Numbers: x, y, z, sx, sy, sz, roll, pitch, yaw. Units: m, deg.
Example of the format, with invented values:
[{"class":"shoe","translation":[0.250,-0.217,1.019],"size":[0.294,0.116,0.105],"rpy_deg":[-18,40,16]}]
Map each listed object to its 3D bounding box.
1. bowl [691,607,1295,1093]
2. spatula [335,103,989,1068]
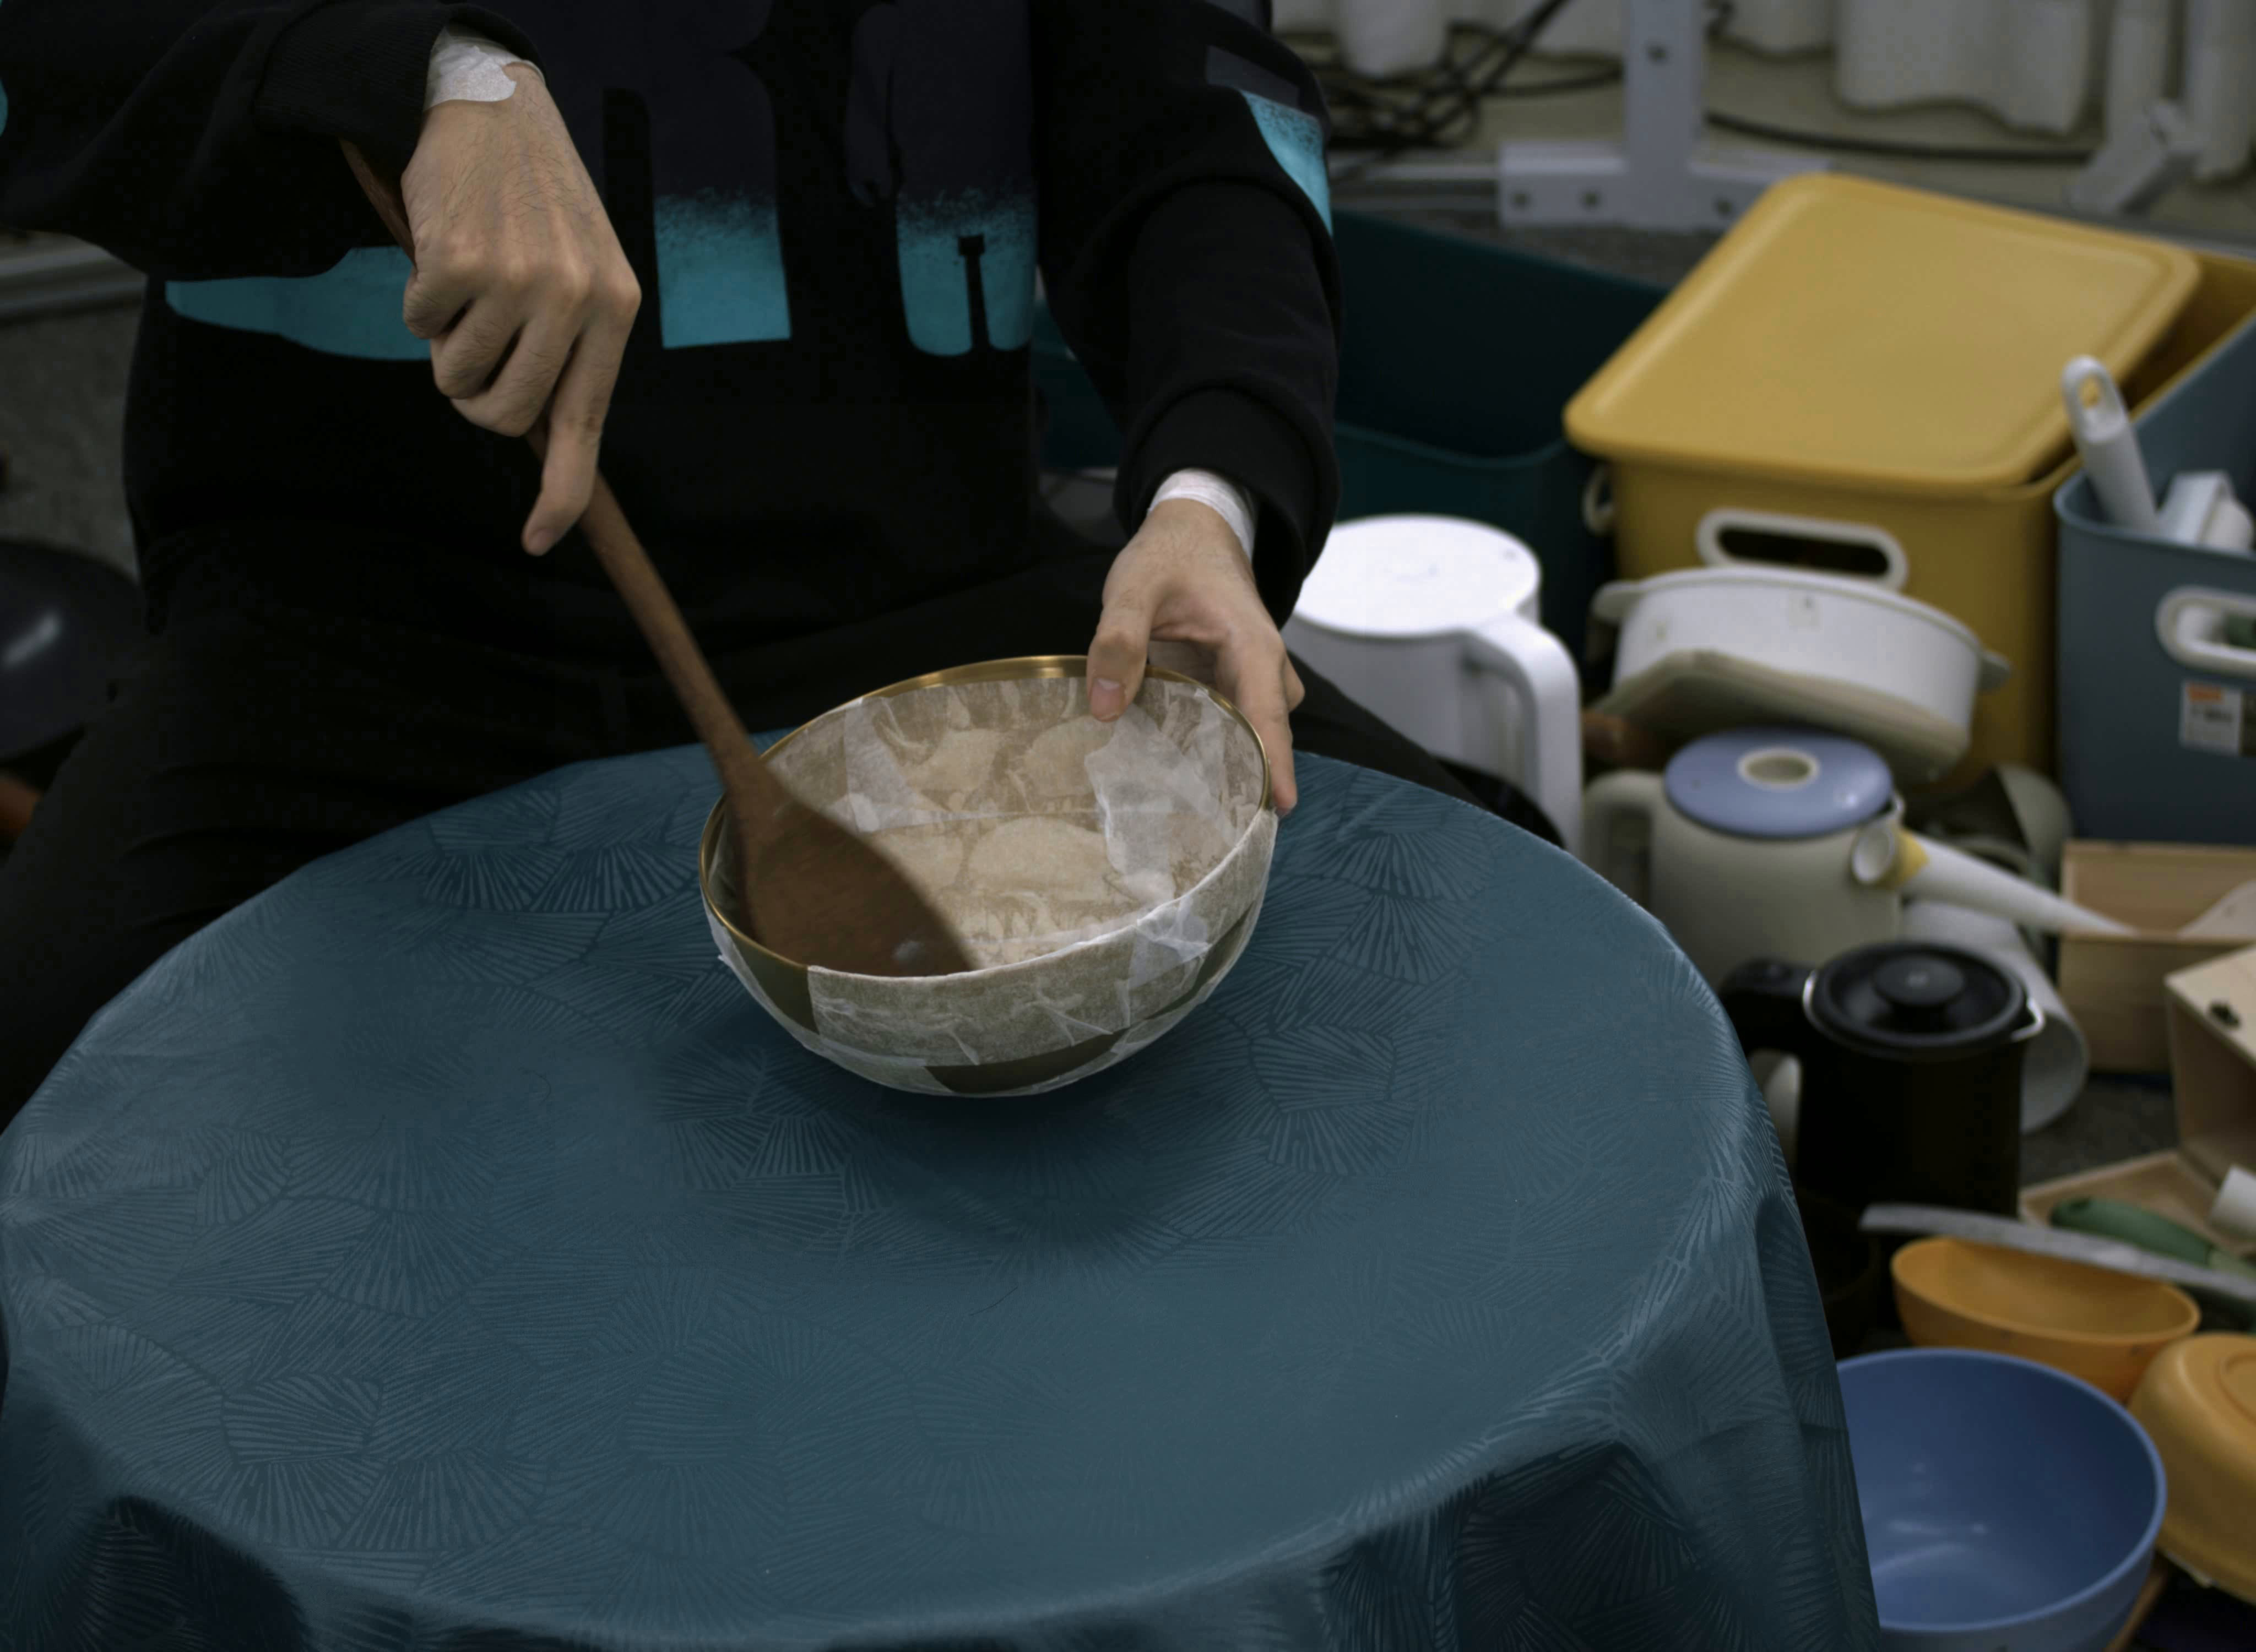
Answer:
[{"class":"bowl","translation":[-0.041,0.022,1.935],"size":[0.213,0.093,0.219],"rpy_deg":[-7,38,6]},{"class":"spatula","translation":[-0.168,-0.086,1.950],"size":[0.015,0.387,0.097],"rpy_deg":[-32,-1,37]}]
